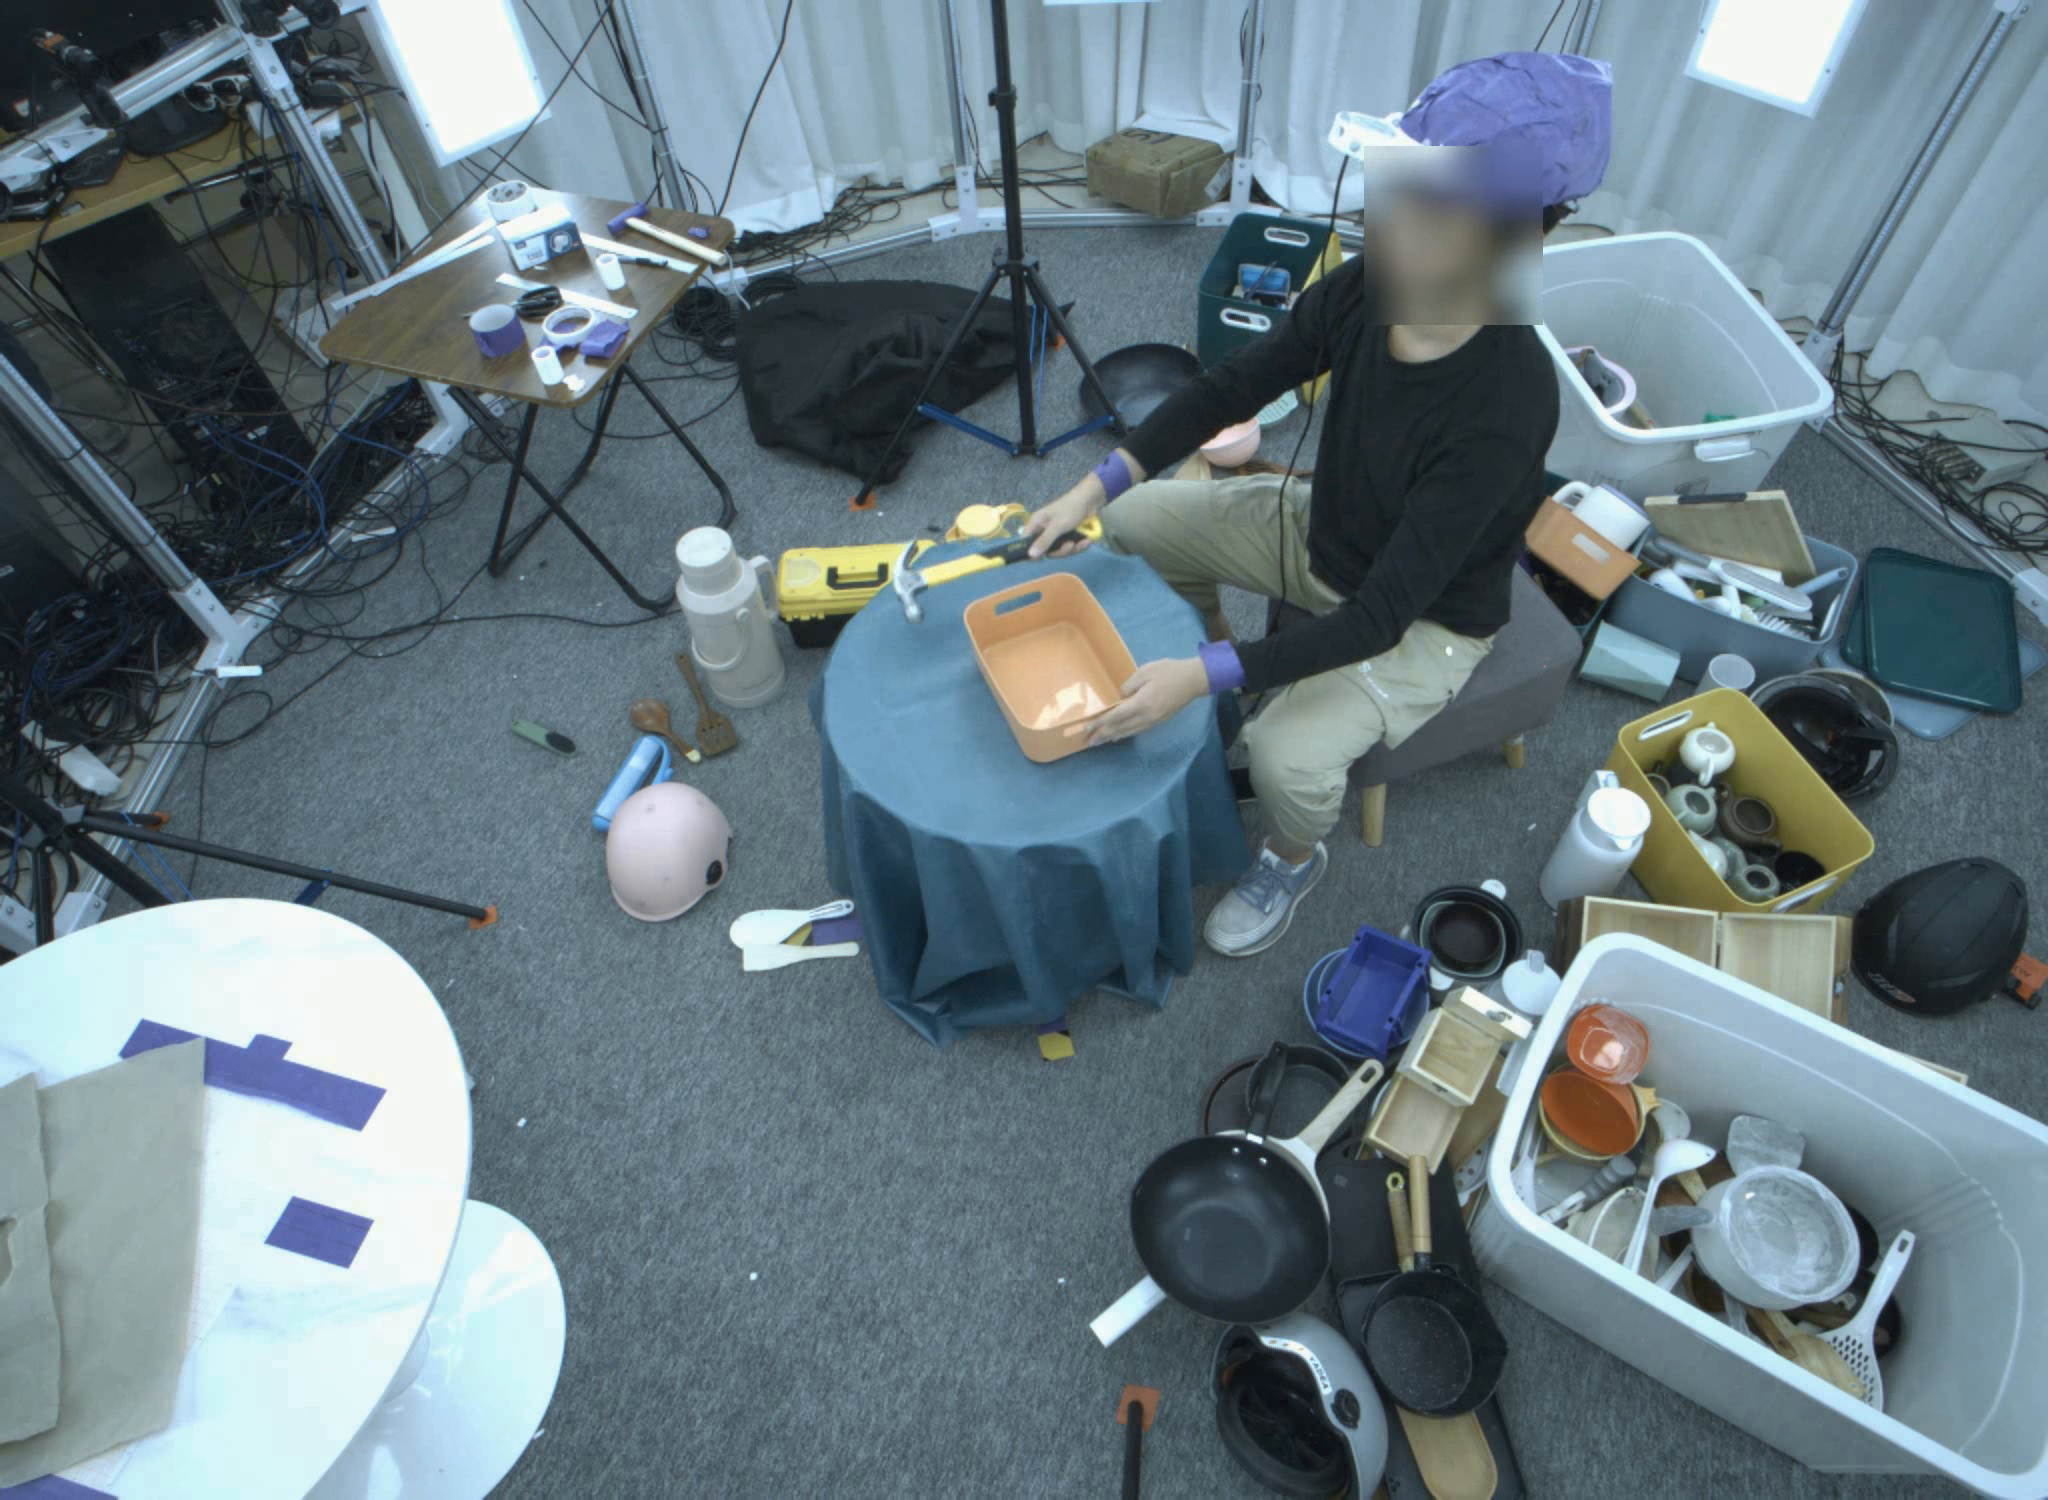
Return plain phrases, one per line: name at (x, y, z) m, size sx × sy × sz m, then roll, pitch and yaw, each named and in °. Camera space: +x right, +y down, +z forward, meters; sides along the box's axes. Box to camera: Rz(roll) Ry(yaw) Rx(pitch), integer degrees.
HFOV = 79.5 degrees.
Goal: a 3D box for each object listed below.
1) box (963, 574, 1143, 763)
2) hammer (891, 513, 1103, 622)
box at (0.041, -0.119, 1.803) m, size 0.201 × 0.103 × 0.268 m, roll -20°, pitch 57°, yaw -13°
hammer at (-0.040, -0.303, 1.883) m, size 0.340 × 0.032 × 0.130 m, roll -18°, pitch 68°, yaw -9°
